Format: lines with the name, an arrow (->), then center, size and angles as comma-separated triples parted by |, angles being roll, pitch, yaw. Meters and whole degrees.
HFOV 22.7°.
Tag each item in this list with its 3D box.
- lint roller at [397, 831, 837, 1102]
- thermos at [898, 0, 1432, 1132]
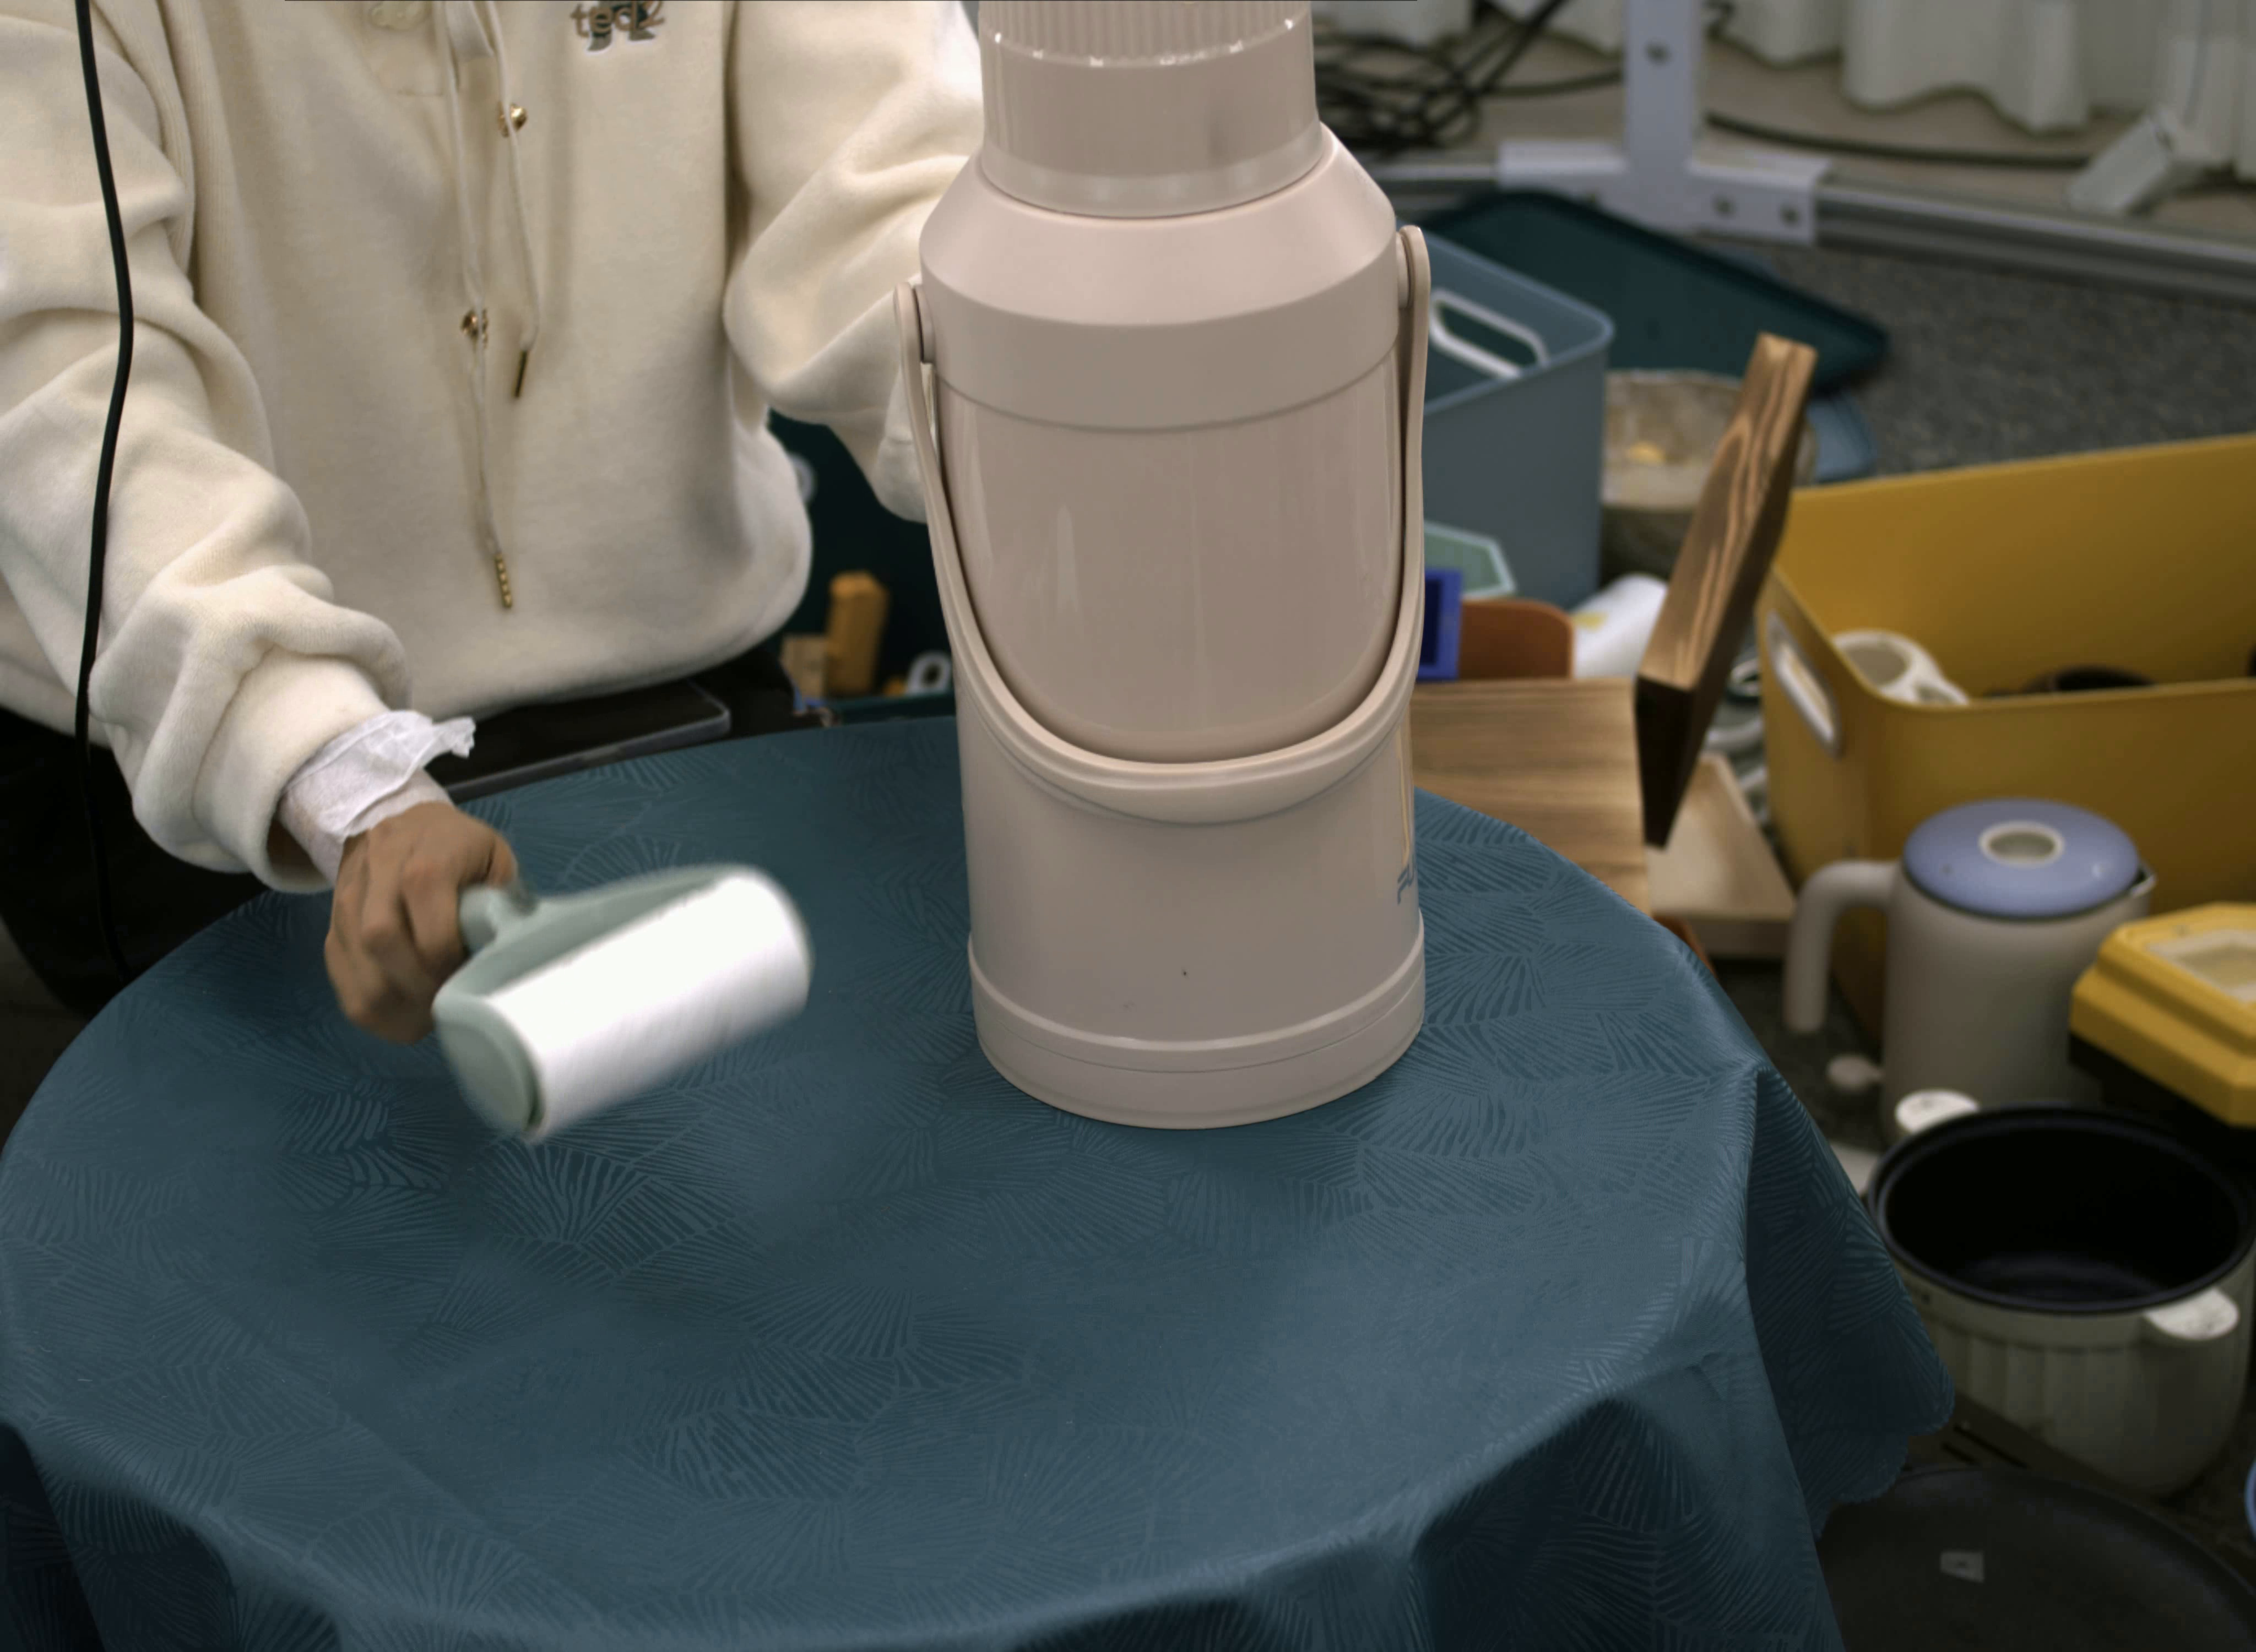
lint roller -> -0.187, 0.036, 1.833 | 0.118, 0.048, 0.196 | -29, 23, -28
thermos -> 0.014, -0.115, 1.892 | 0.175, 0.402, 0.209 | -7, 26, -7
